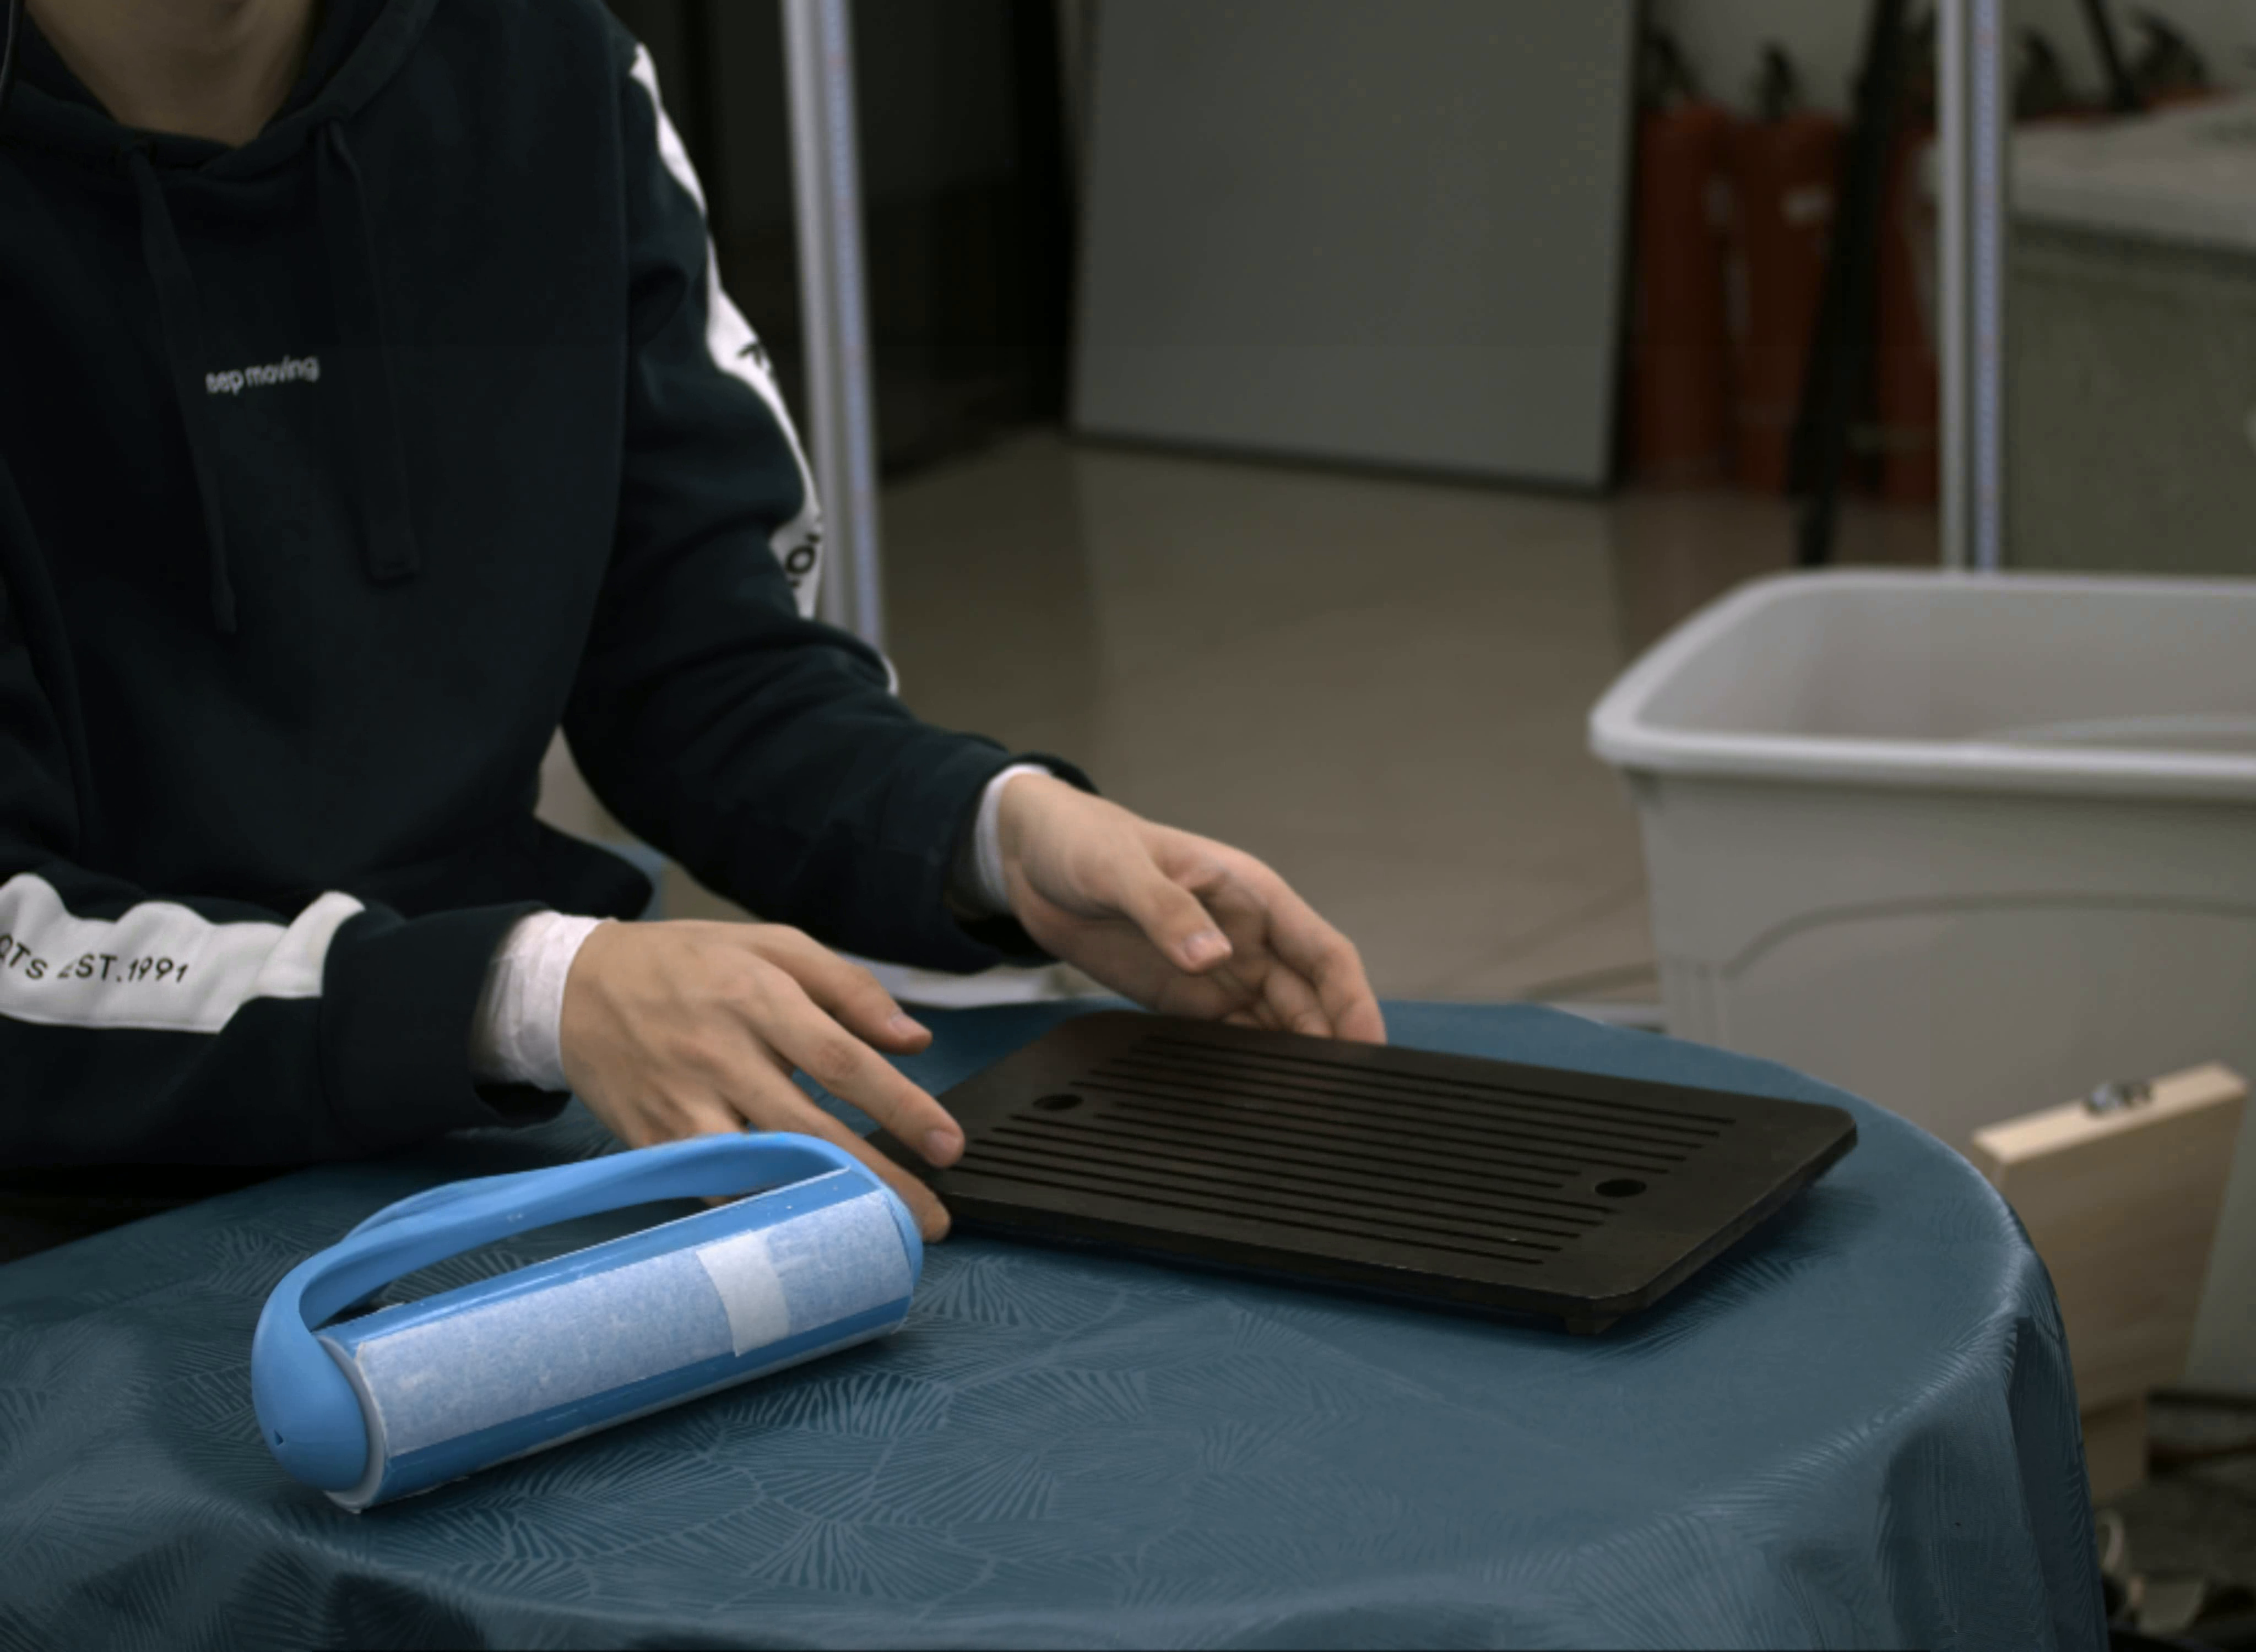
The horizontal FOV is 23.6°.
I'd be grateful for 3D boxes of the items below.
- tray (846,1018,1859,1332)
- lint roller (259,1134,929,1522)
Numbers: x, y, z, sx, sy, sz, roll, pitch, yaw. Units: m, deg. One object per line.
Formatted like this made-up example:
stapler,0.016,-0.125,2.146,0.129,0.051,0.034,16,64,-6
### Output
tray,0.069,0.110,1.742,0.308,0.019,0.167,6,20,34
lint roller,-0.191,0.140,1.631,0.224,0.068,0.182,-18,21,-39
